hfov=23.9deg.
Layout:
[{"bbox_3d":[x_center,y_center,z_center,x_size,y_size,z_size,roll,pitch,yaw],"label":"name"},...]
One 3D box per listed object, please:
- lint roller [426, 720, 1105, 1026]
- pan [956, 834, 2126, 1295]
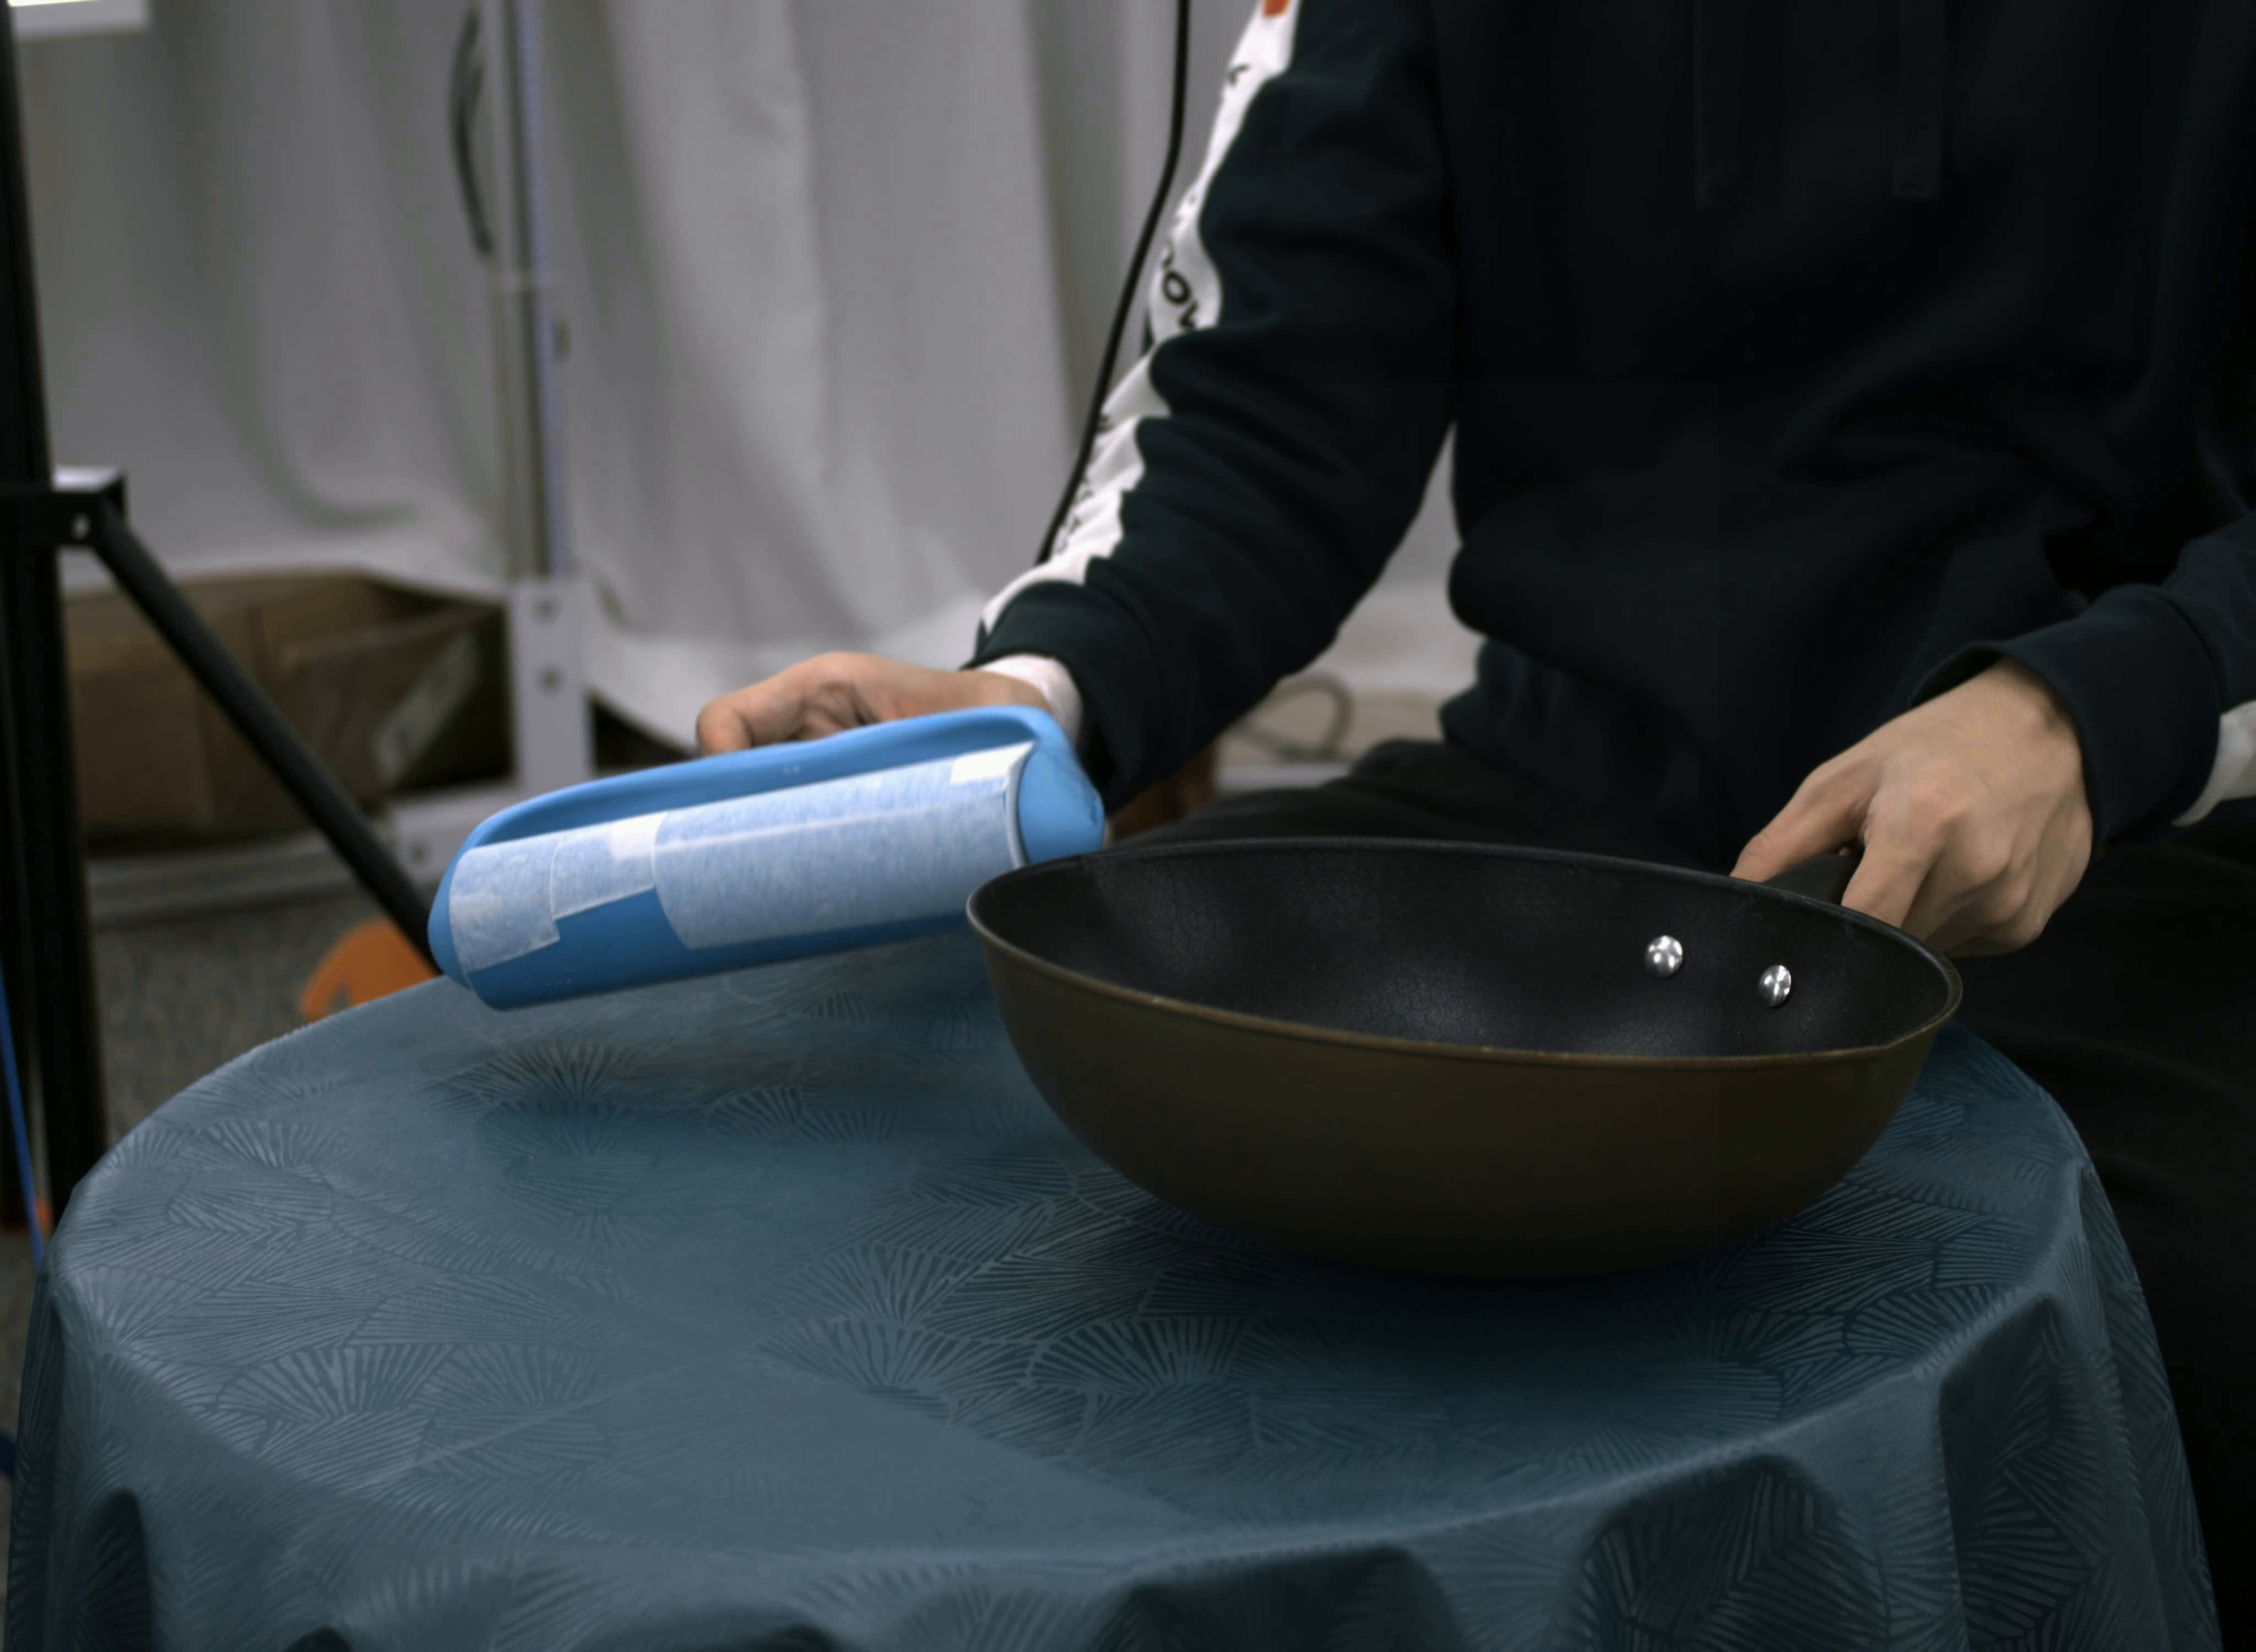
[{"bbox_3d":[-0.100,0.007,1.715,0.231,0.068,0.178,-12,9,18],"label":"lint roller"},{"bbox_3d":[0.150,0.062,1.557,0.295,0.087,0.452,15,15,42],"label":"pan"}]
